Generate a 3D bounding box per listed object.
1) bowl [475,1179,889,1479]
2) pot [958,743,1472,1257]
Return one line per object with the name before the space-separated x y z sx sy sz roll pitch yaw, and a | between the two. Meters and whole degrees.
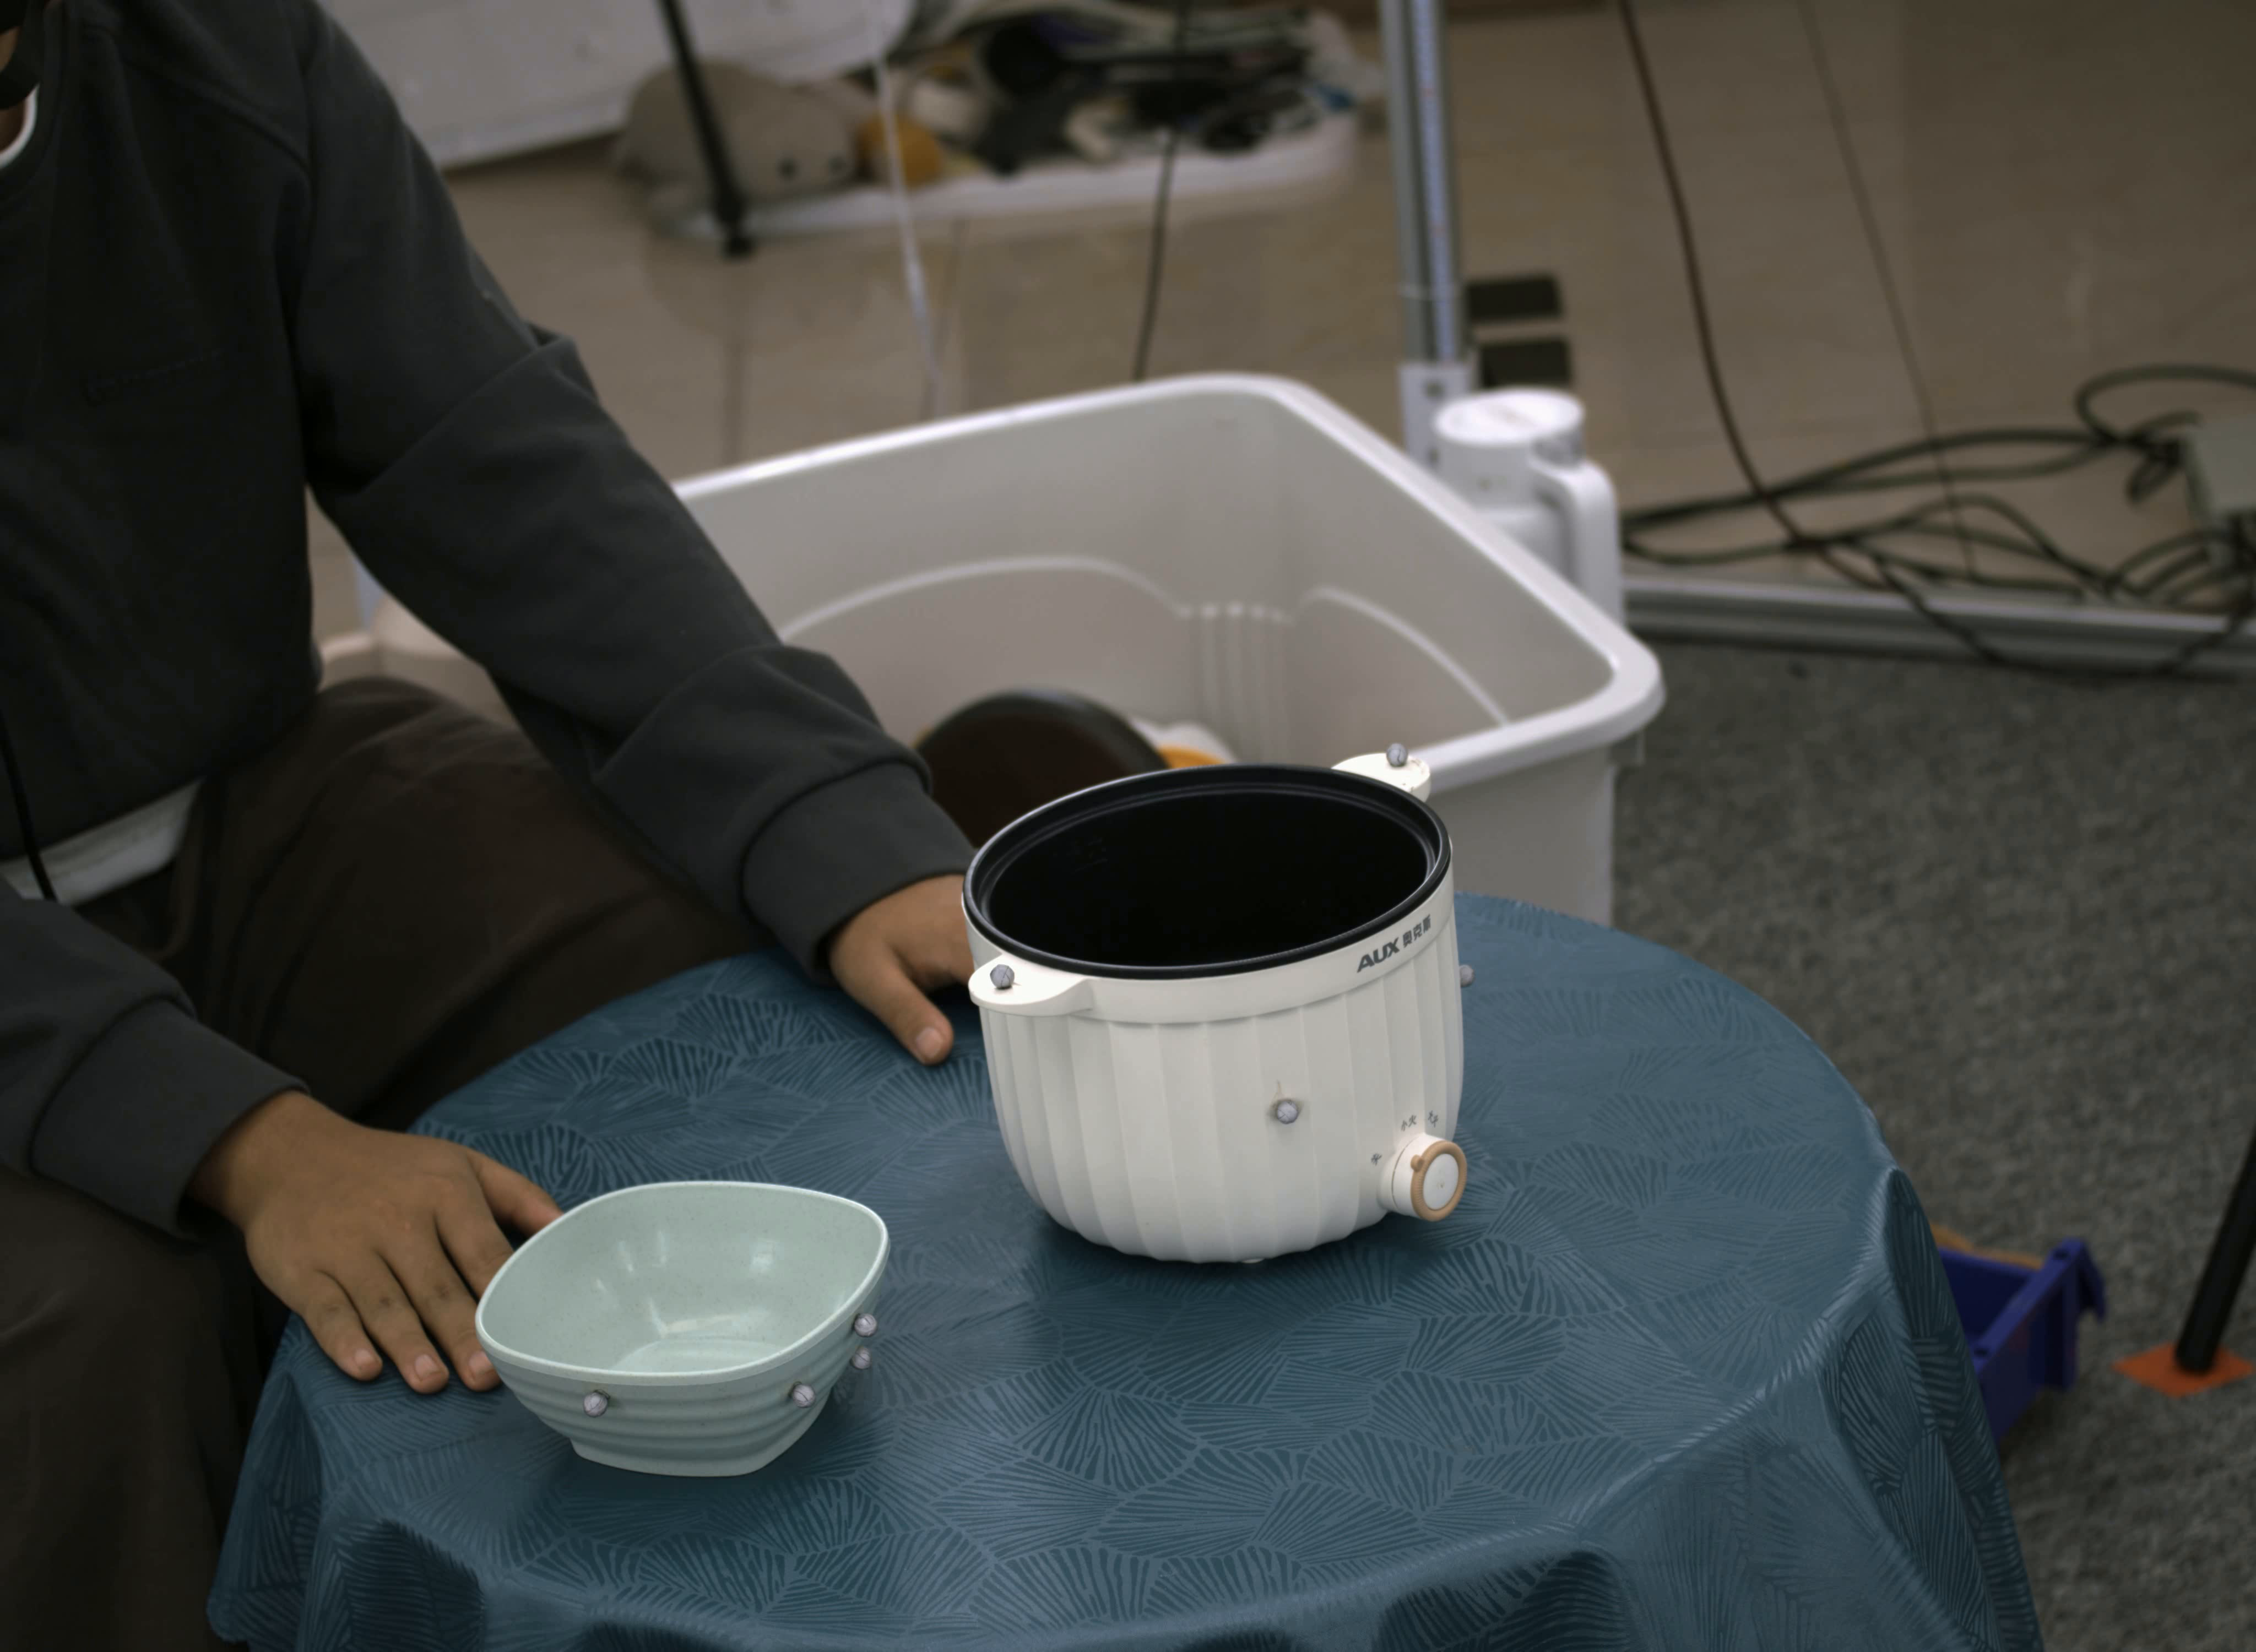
bowl | -0.155 0.184 2.019 0.151 0.059 0.149 -4 26 2
pot | 0.040 0.072 2.113 0.189 0.145 0.238 11 32 40
